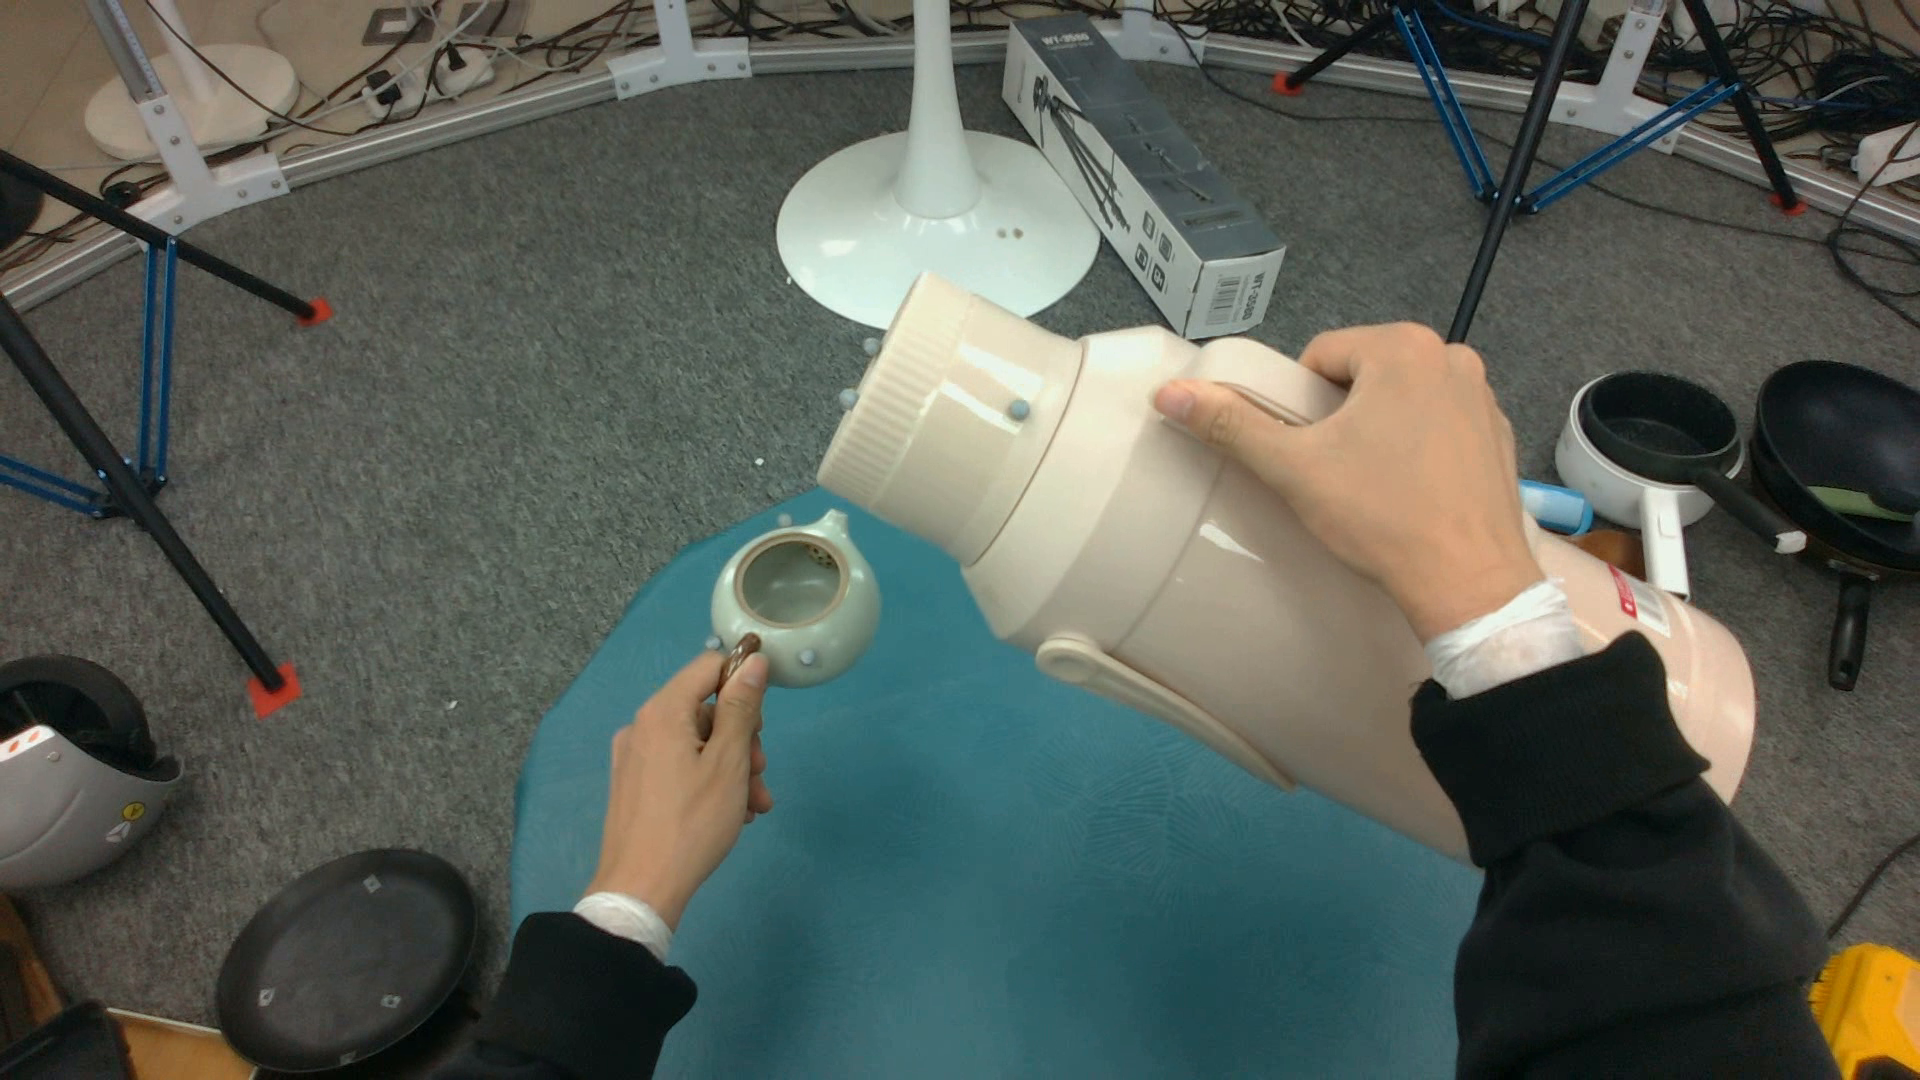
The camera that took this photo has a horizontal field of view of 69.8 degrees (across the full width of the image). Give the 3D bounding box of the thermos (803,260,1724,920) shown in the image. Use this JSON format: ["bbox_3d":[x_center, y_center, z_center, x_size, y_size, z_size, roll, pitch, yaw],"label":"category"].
[{"bbox_3d":[0.135,0.012,0.617,0.406,0.206,0.176,29,55,-8],"label":"thermos"}]

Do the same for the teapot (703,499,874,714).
[{"bbox_3d":[-0.097,0.038,0.740,0.092,0.059,0.128,22,57,12],"label":"teapot"}]
